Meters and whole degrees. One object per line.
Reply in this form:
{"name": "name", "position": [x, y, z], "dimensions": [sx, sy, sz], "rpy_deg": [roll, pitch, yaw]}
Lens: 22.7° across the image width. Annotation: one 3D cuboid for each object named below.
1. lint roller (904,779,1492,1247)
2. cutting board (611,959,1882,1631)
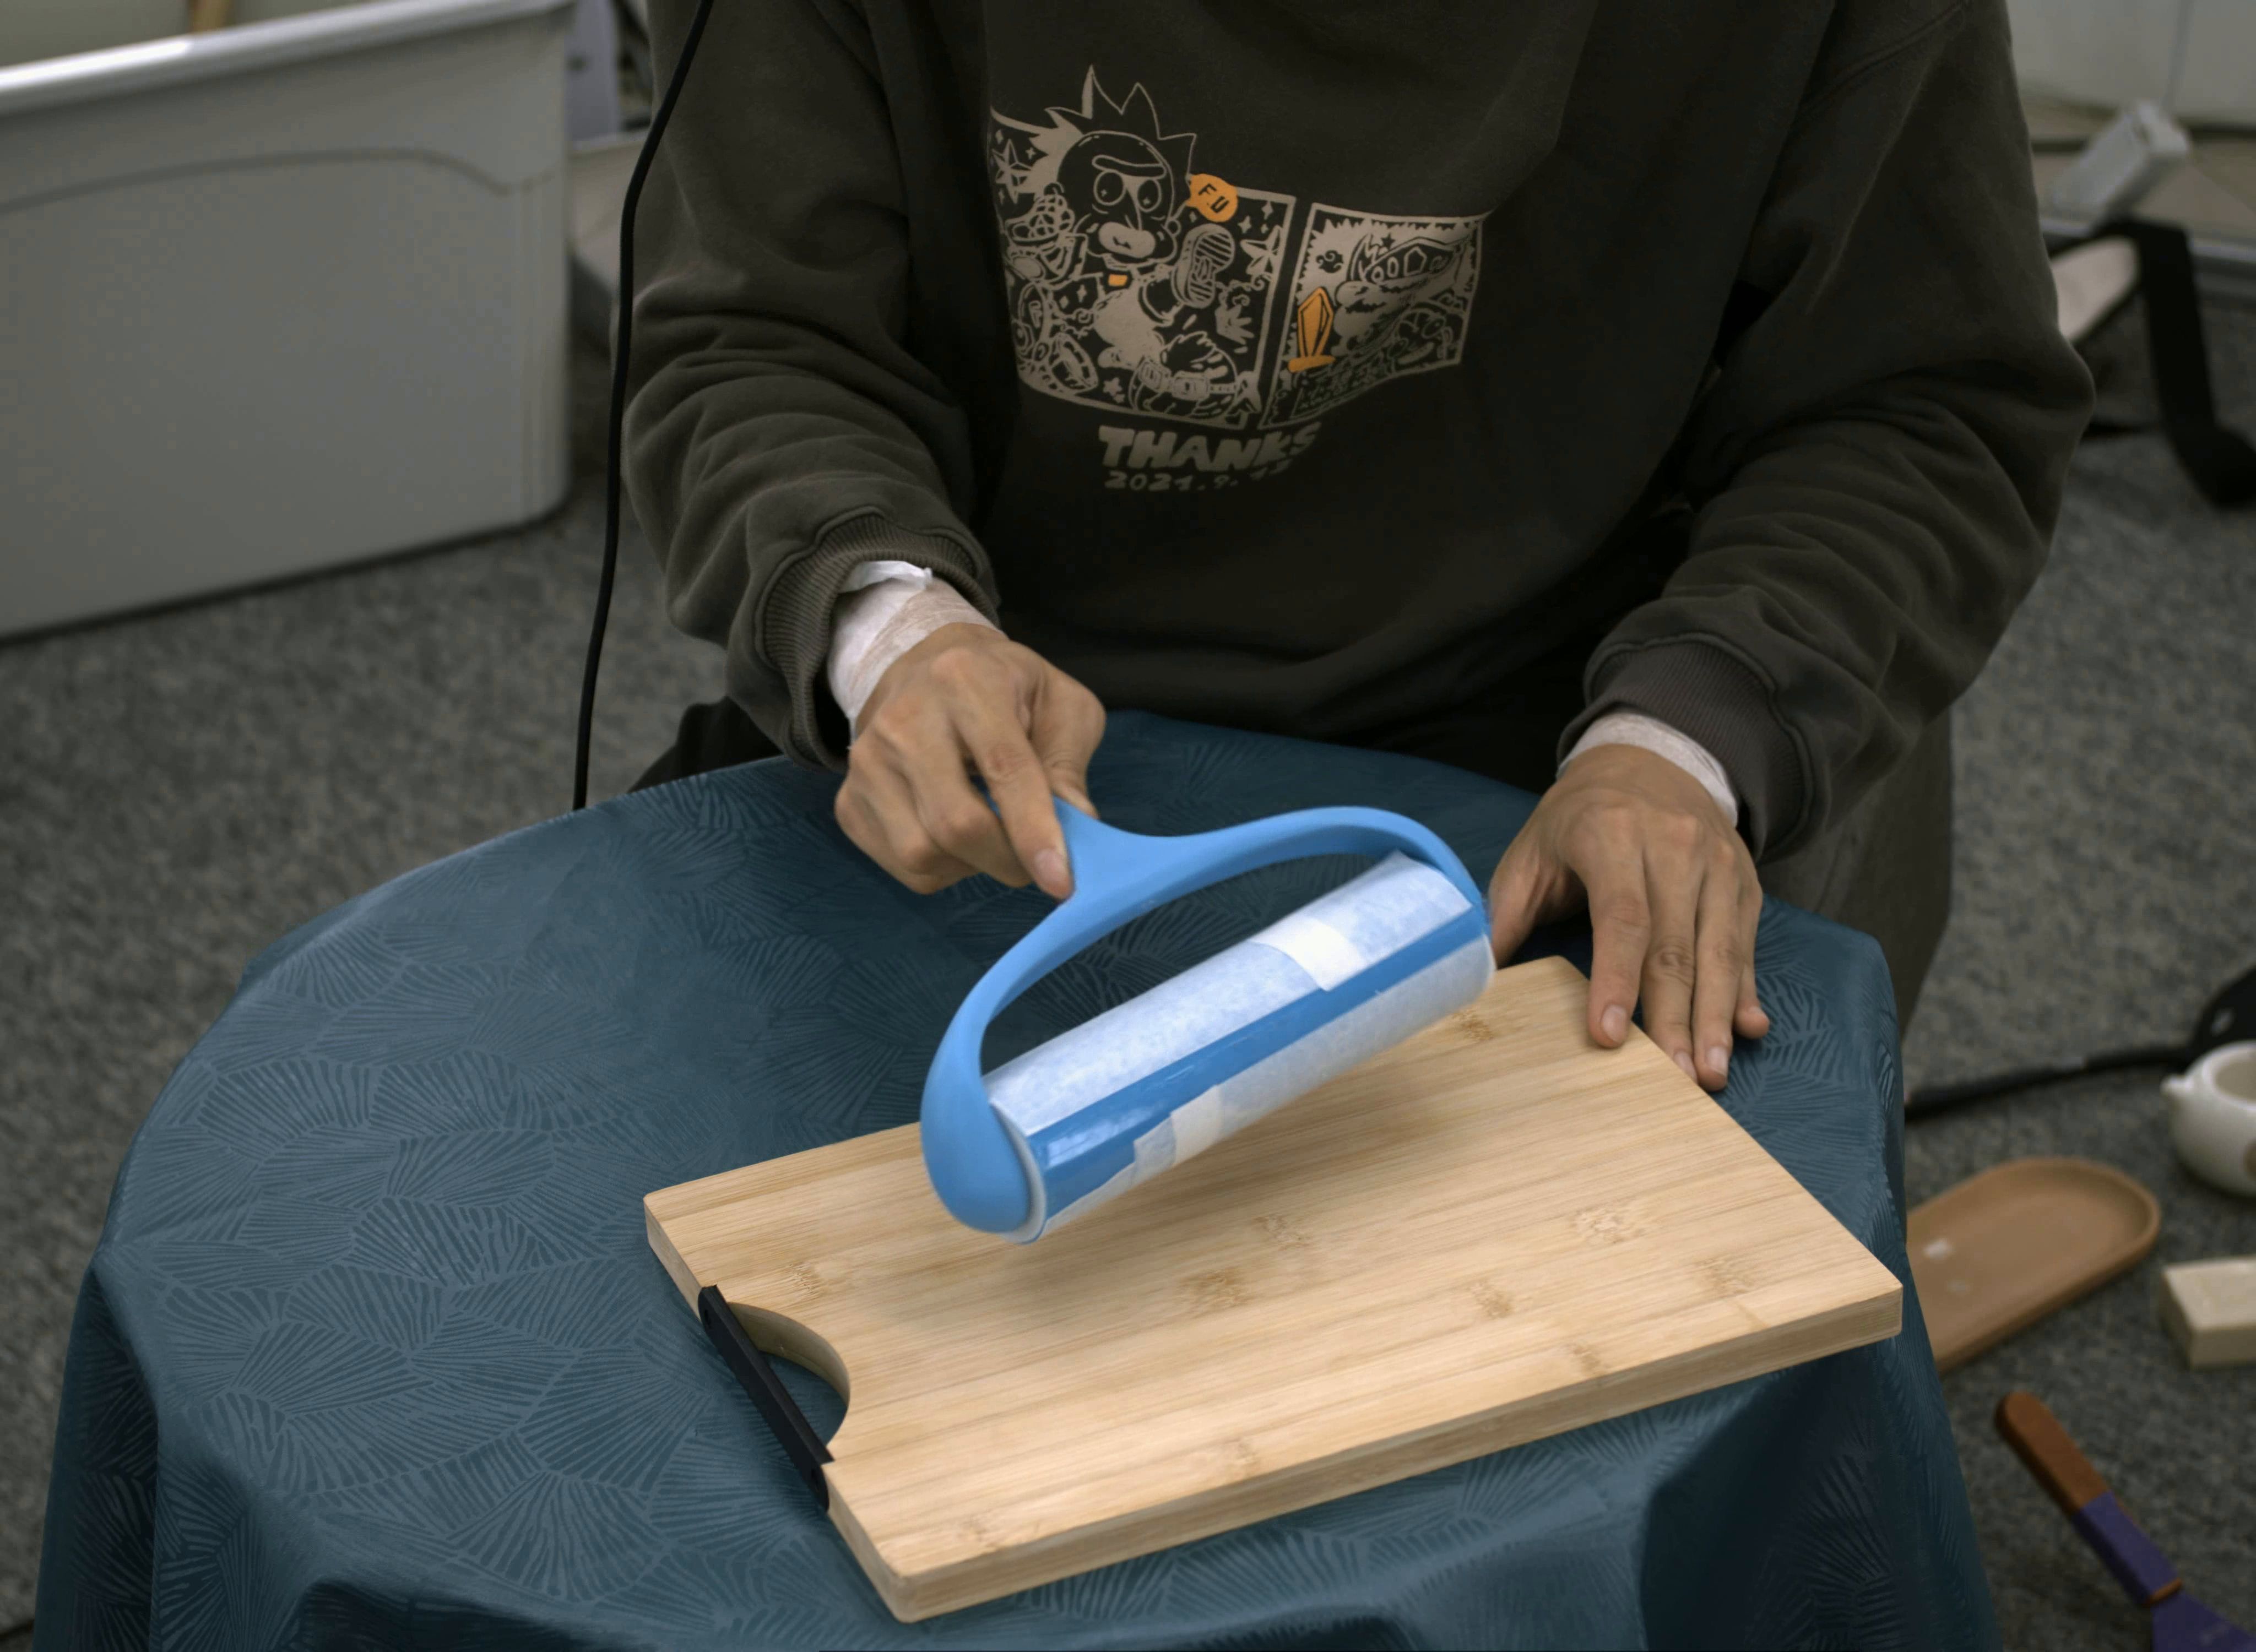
{"name": "lint roller", "position": [-0.010, 0.032, 1.827], "dimensions": [0.232, 0.067, 0.181], "rpy_deg": [-30, 61, -34]}
{"name": "cutting board", "position": [0.036, 0.143, 1.800], "dimensions": [0.350, 0.023, 0.252], "rpy_deg": [-14, 29, -20]}
